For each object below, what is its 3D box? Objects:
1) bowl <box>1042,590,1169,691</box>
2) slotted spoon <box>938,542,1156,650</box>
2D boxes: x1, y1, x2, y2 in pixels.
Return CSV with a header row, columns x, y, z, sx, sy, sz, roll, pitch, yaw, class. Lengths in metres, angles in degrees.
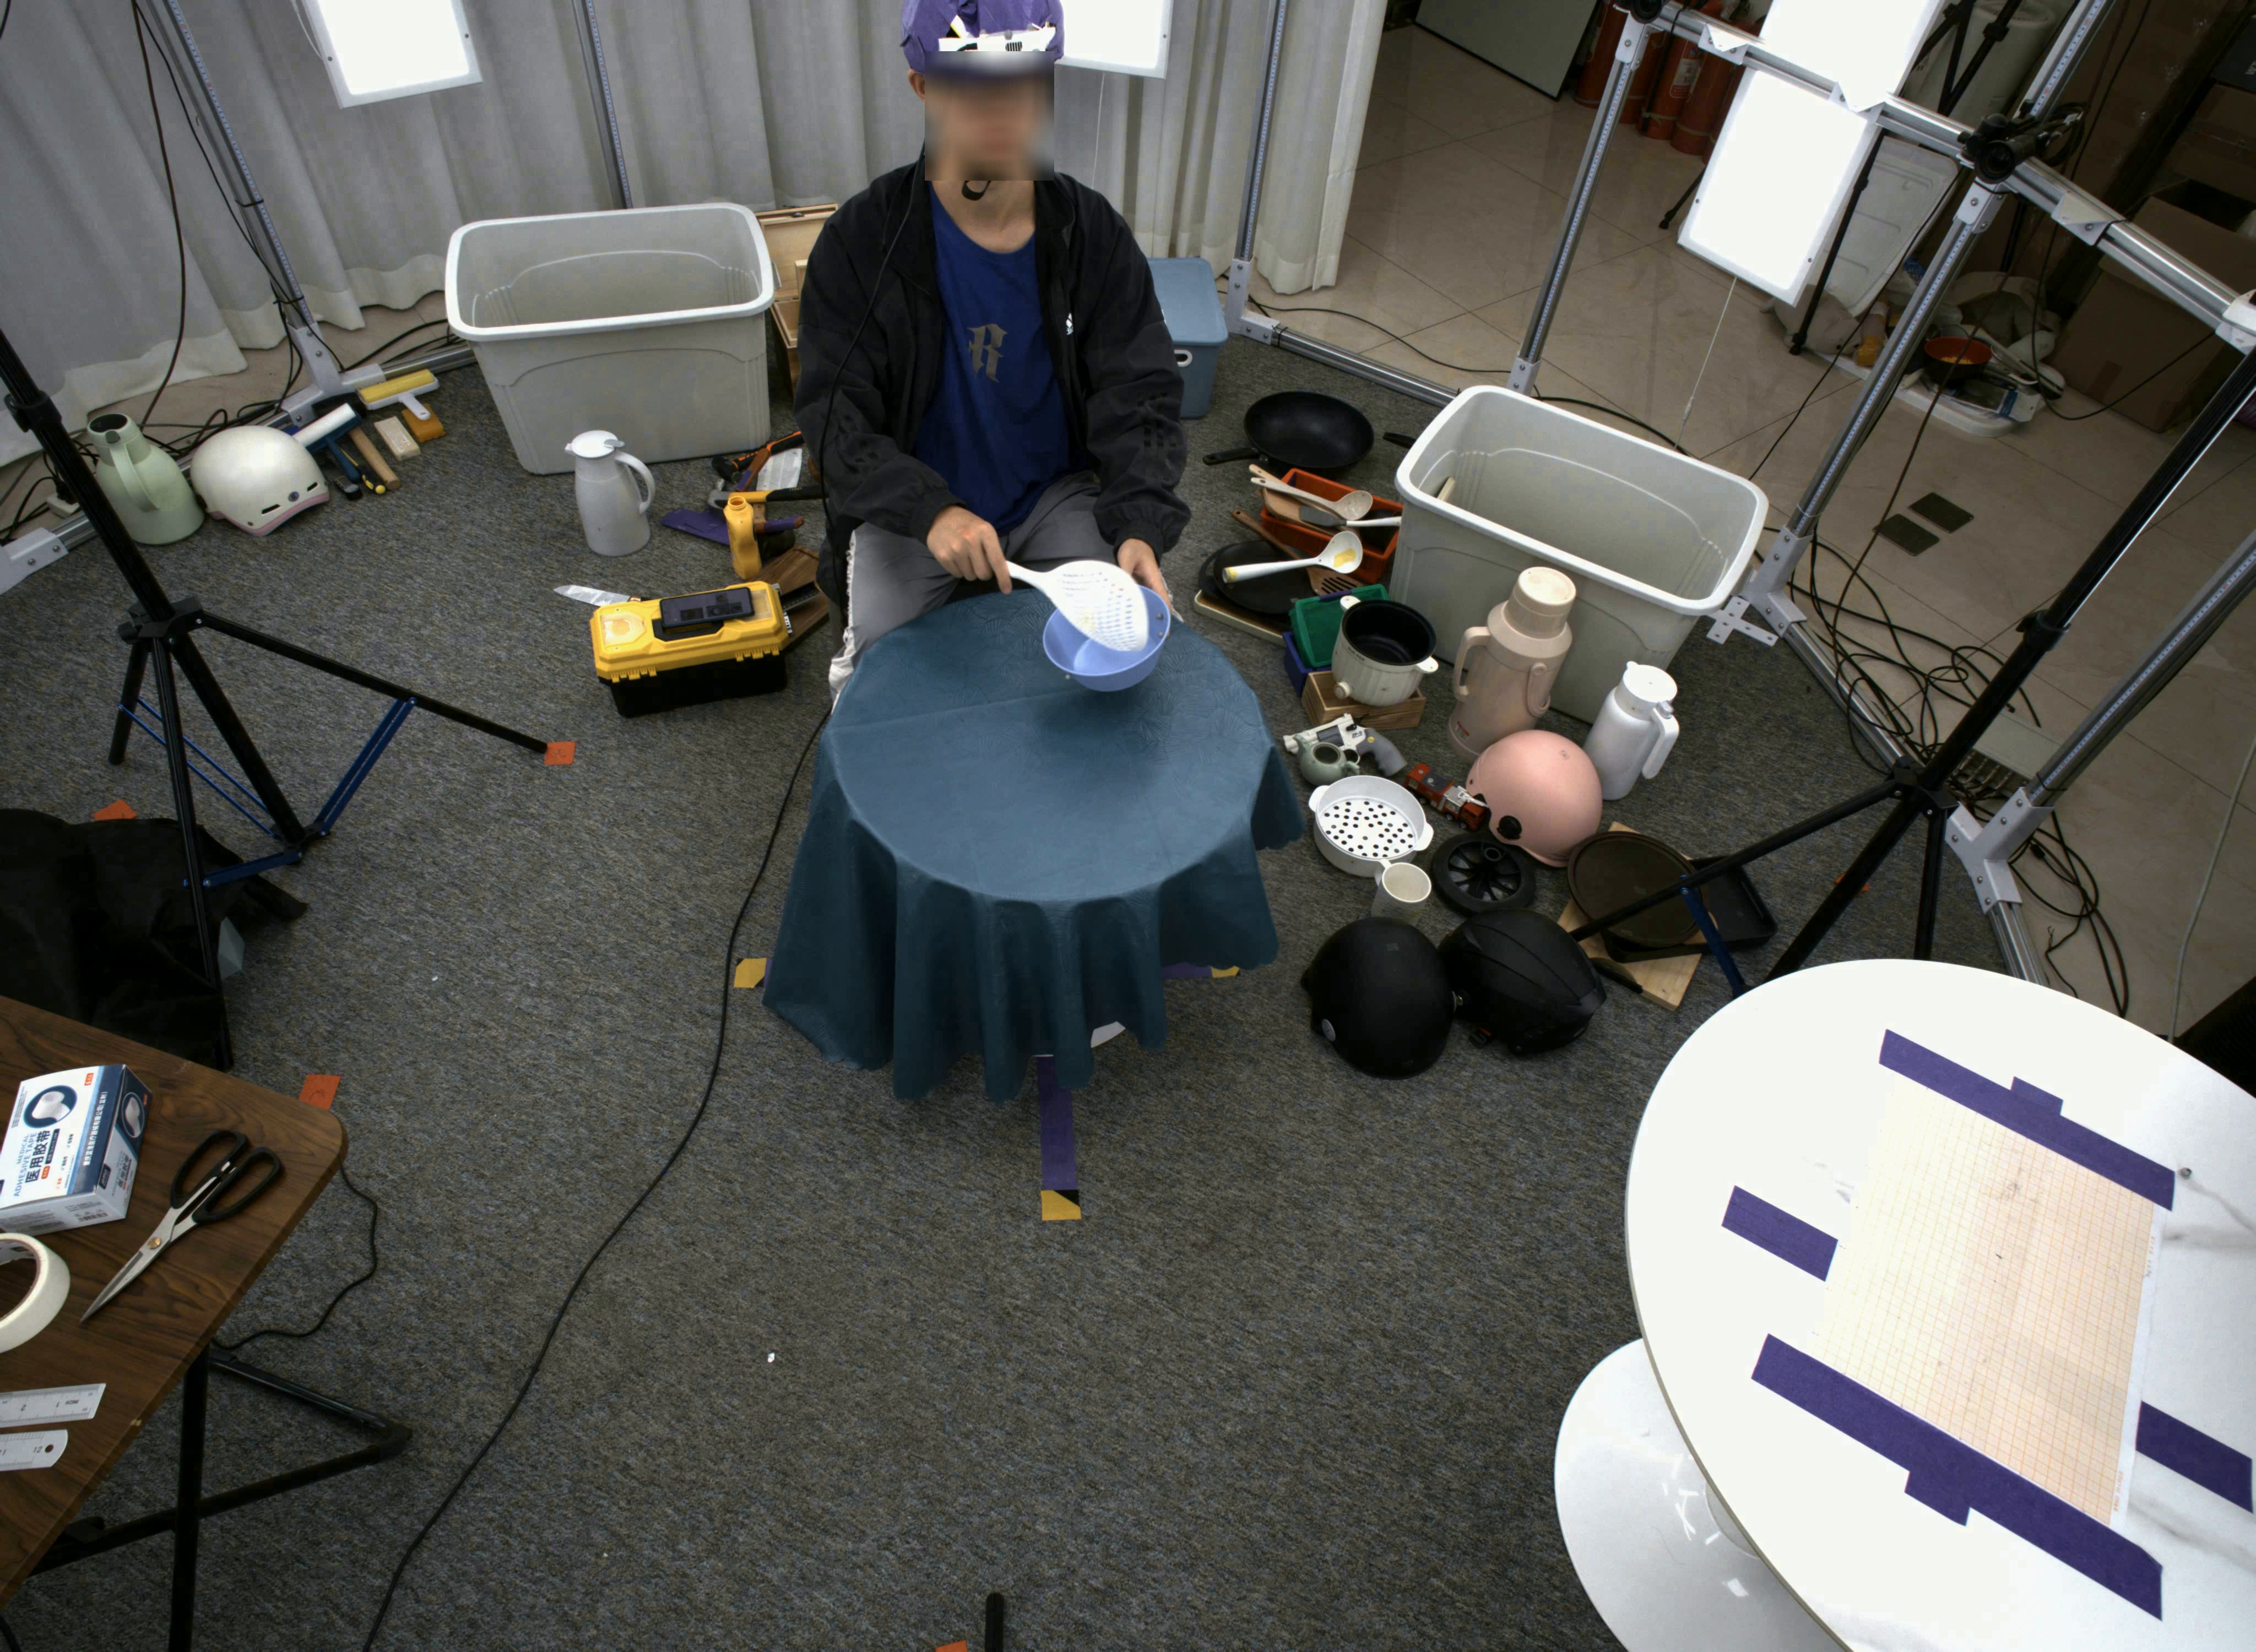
x,y,z,sx,sy,sz,roll,pitch,yaw,class
-0.025,-0.249,1.763,0.176,0.068,0.180,-7,51,9,bowl
-0.113,-0.326,1.735,0.352,0.133,0.051,28,53,29,slotted spoon
